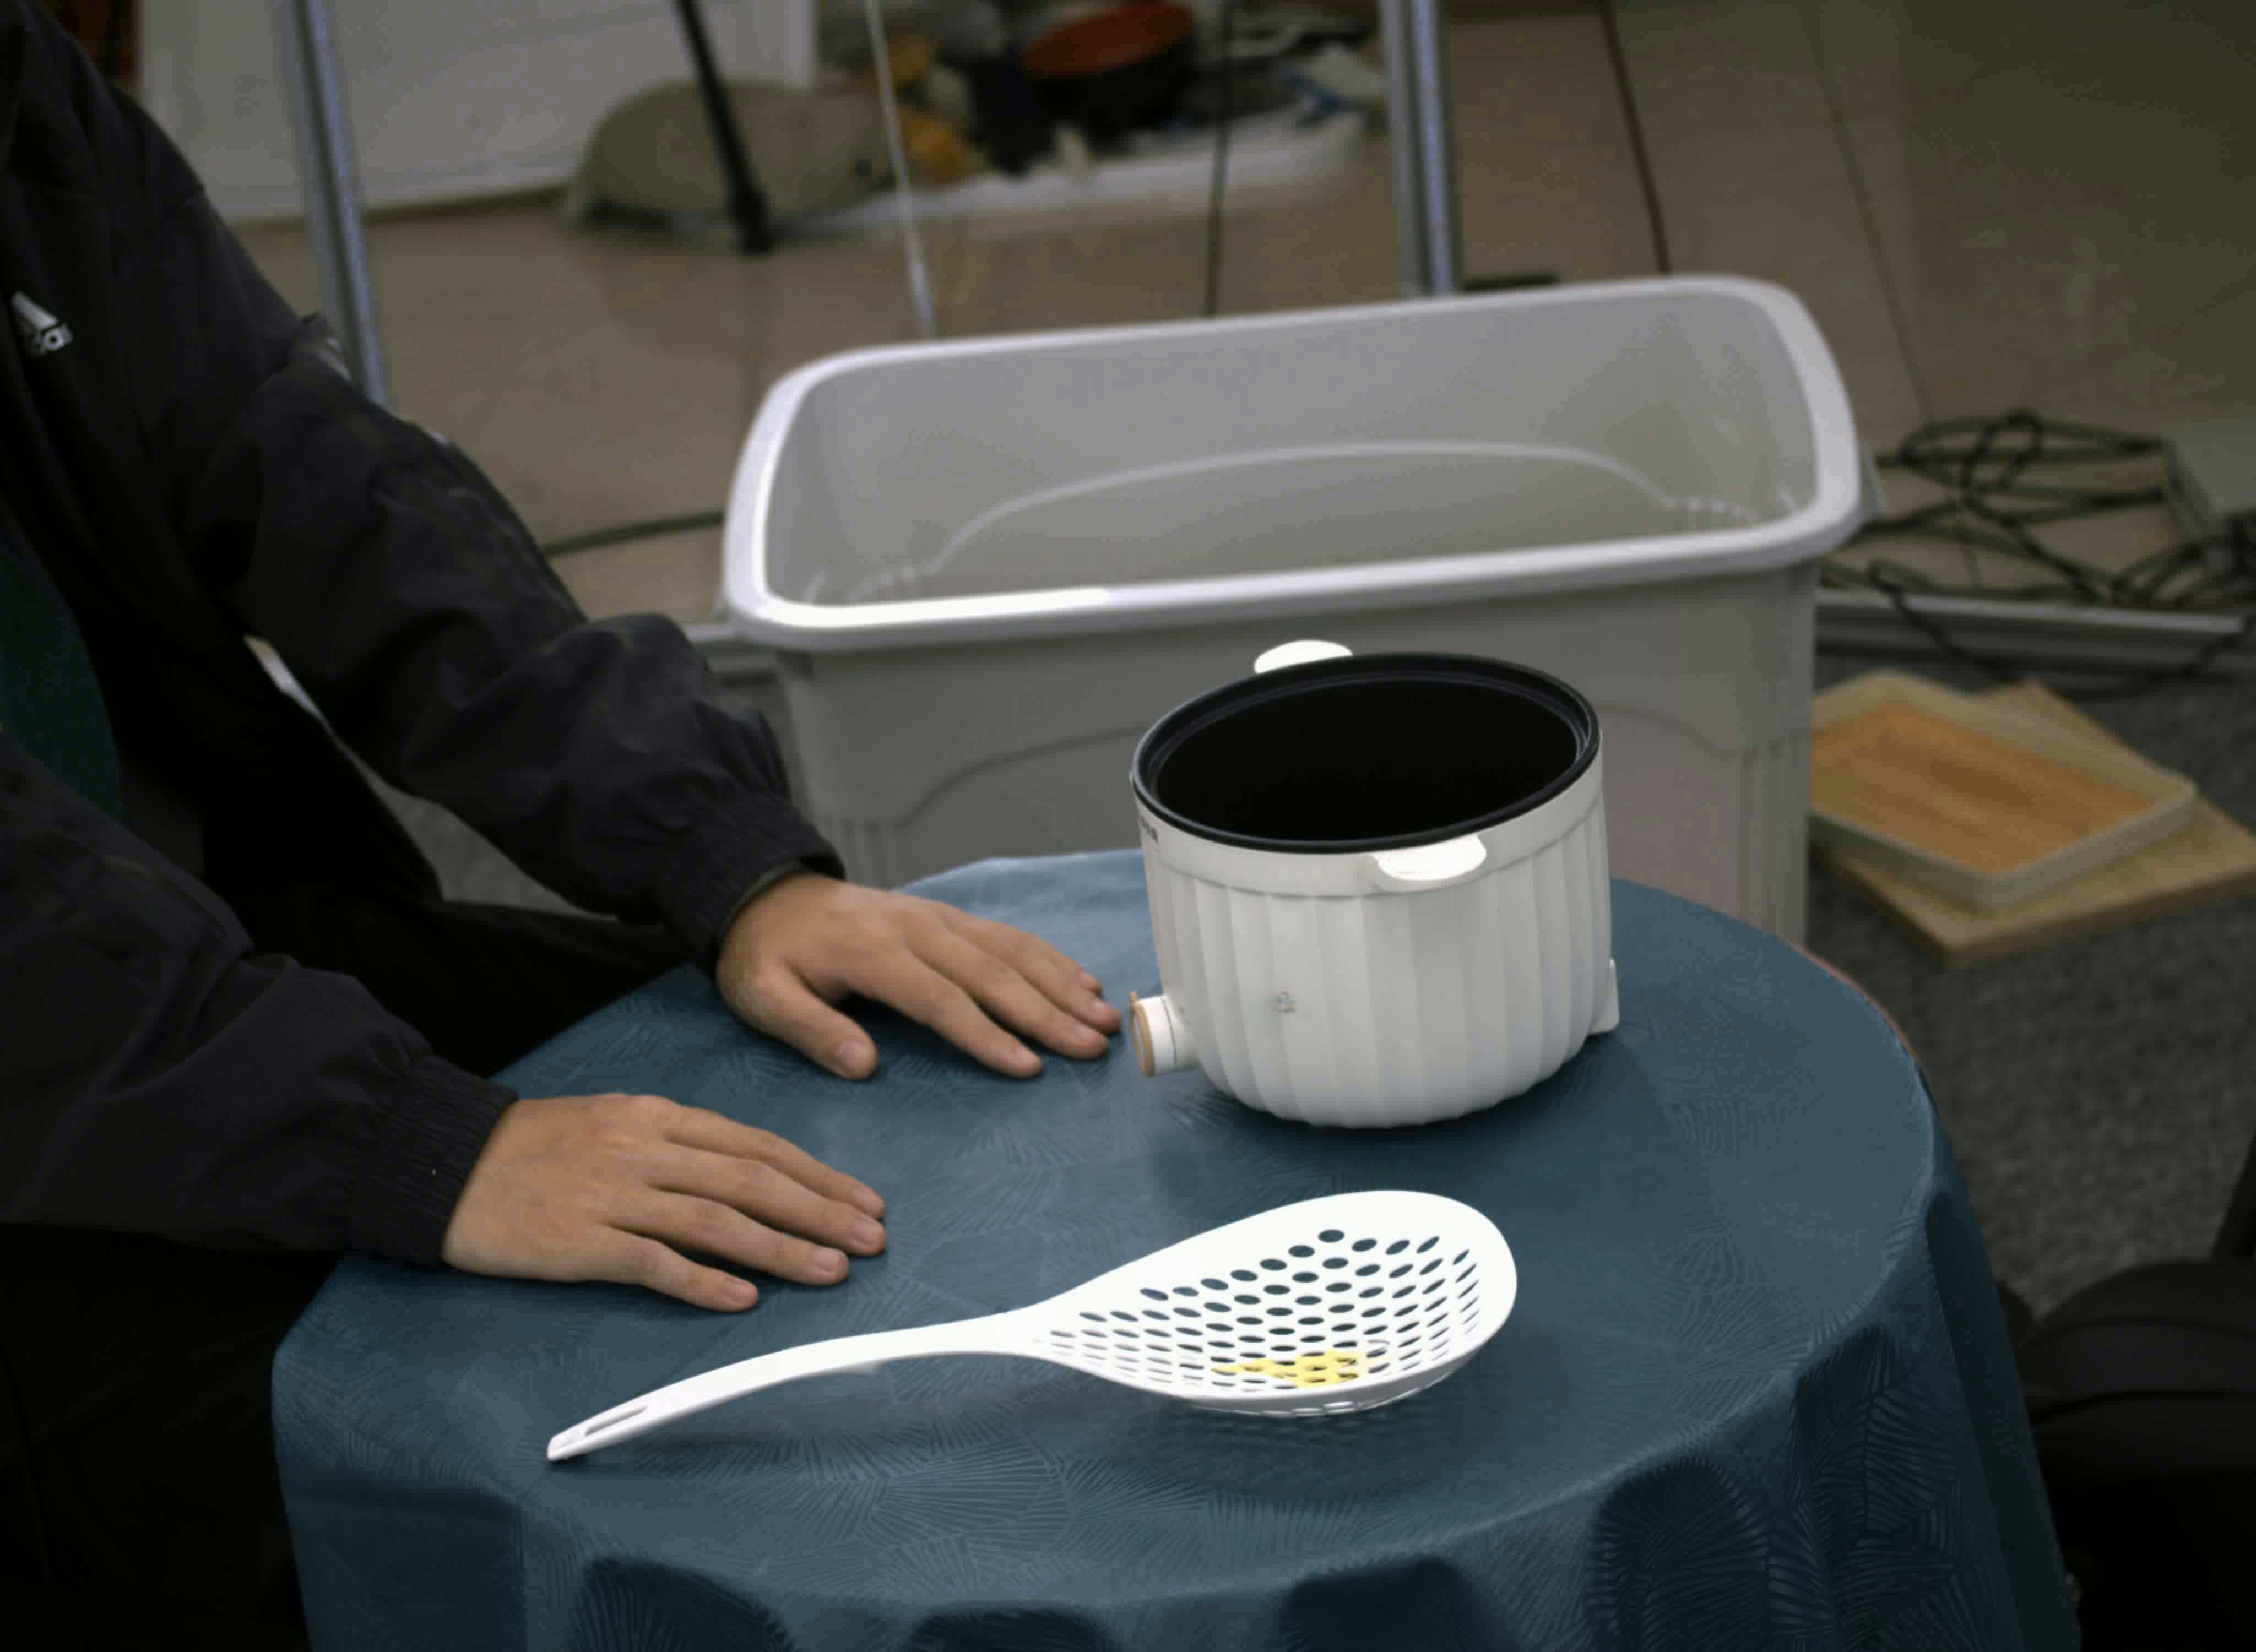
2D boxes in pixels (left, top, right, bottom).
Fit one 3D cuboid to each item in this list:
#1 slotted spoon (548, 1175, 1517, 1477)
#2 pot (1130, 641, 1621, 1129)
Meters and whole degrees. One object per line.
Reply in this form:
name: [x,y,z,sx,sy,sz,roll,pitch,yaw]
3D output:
slotted spoon: [-0.035,0.187,1.999,0.347,0.051,0.135,-5,27,2]
pot: [0.093,0.030,2.190,0.190,0.145,0.237,-8,23,-10]
